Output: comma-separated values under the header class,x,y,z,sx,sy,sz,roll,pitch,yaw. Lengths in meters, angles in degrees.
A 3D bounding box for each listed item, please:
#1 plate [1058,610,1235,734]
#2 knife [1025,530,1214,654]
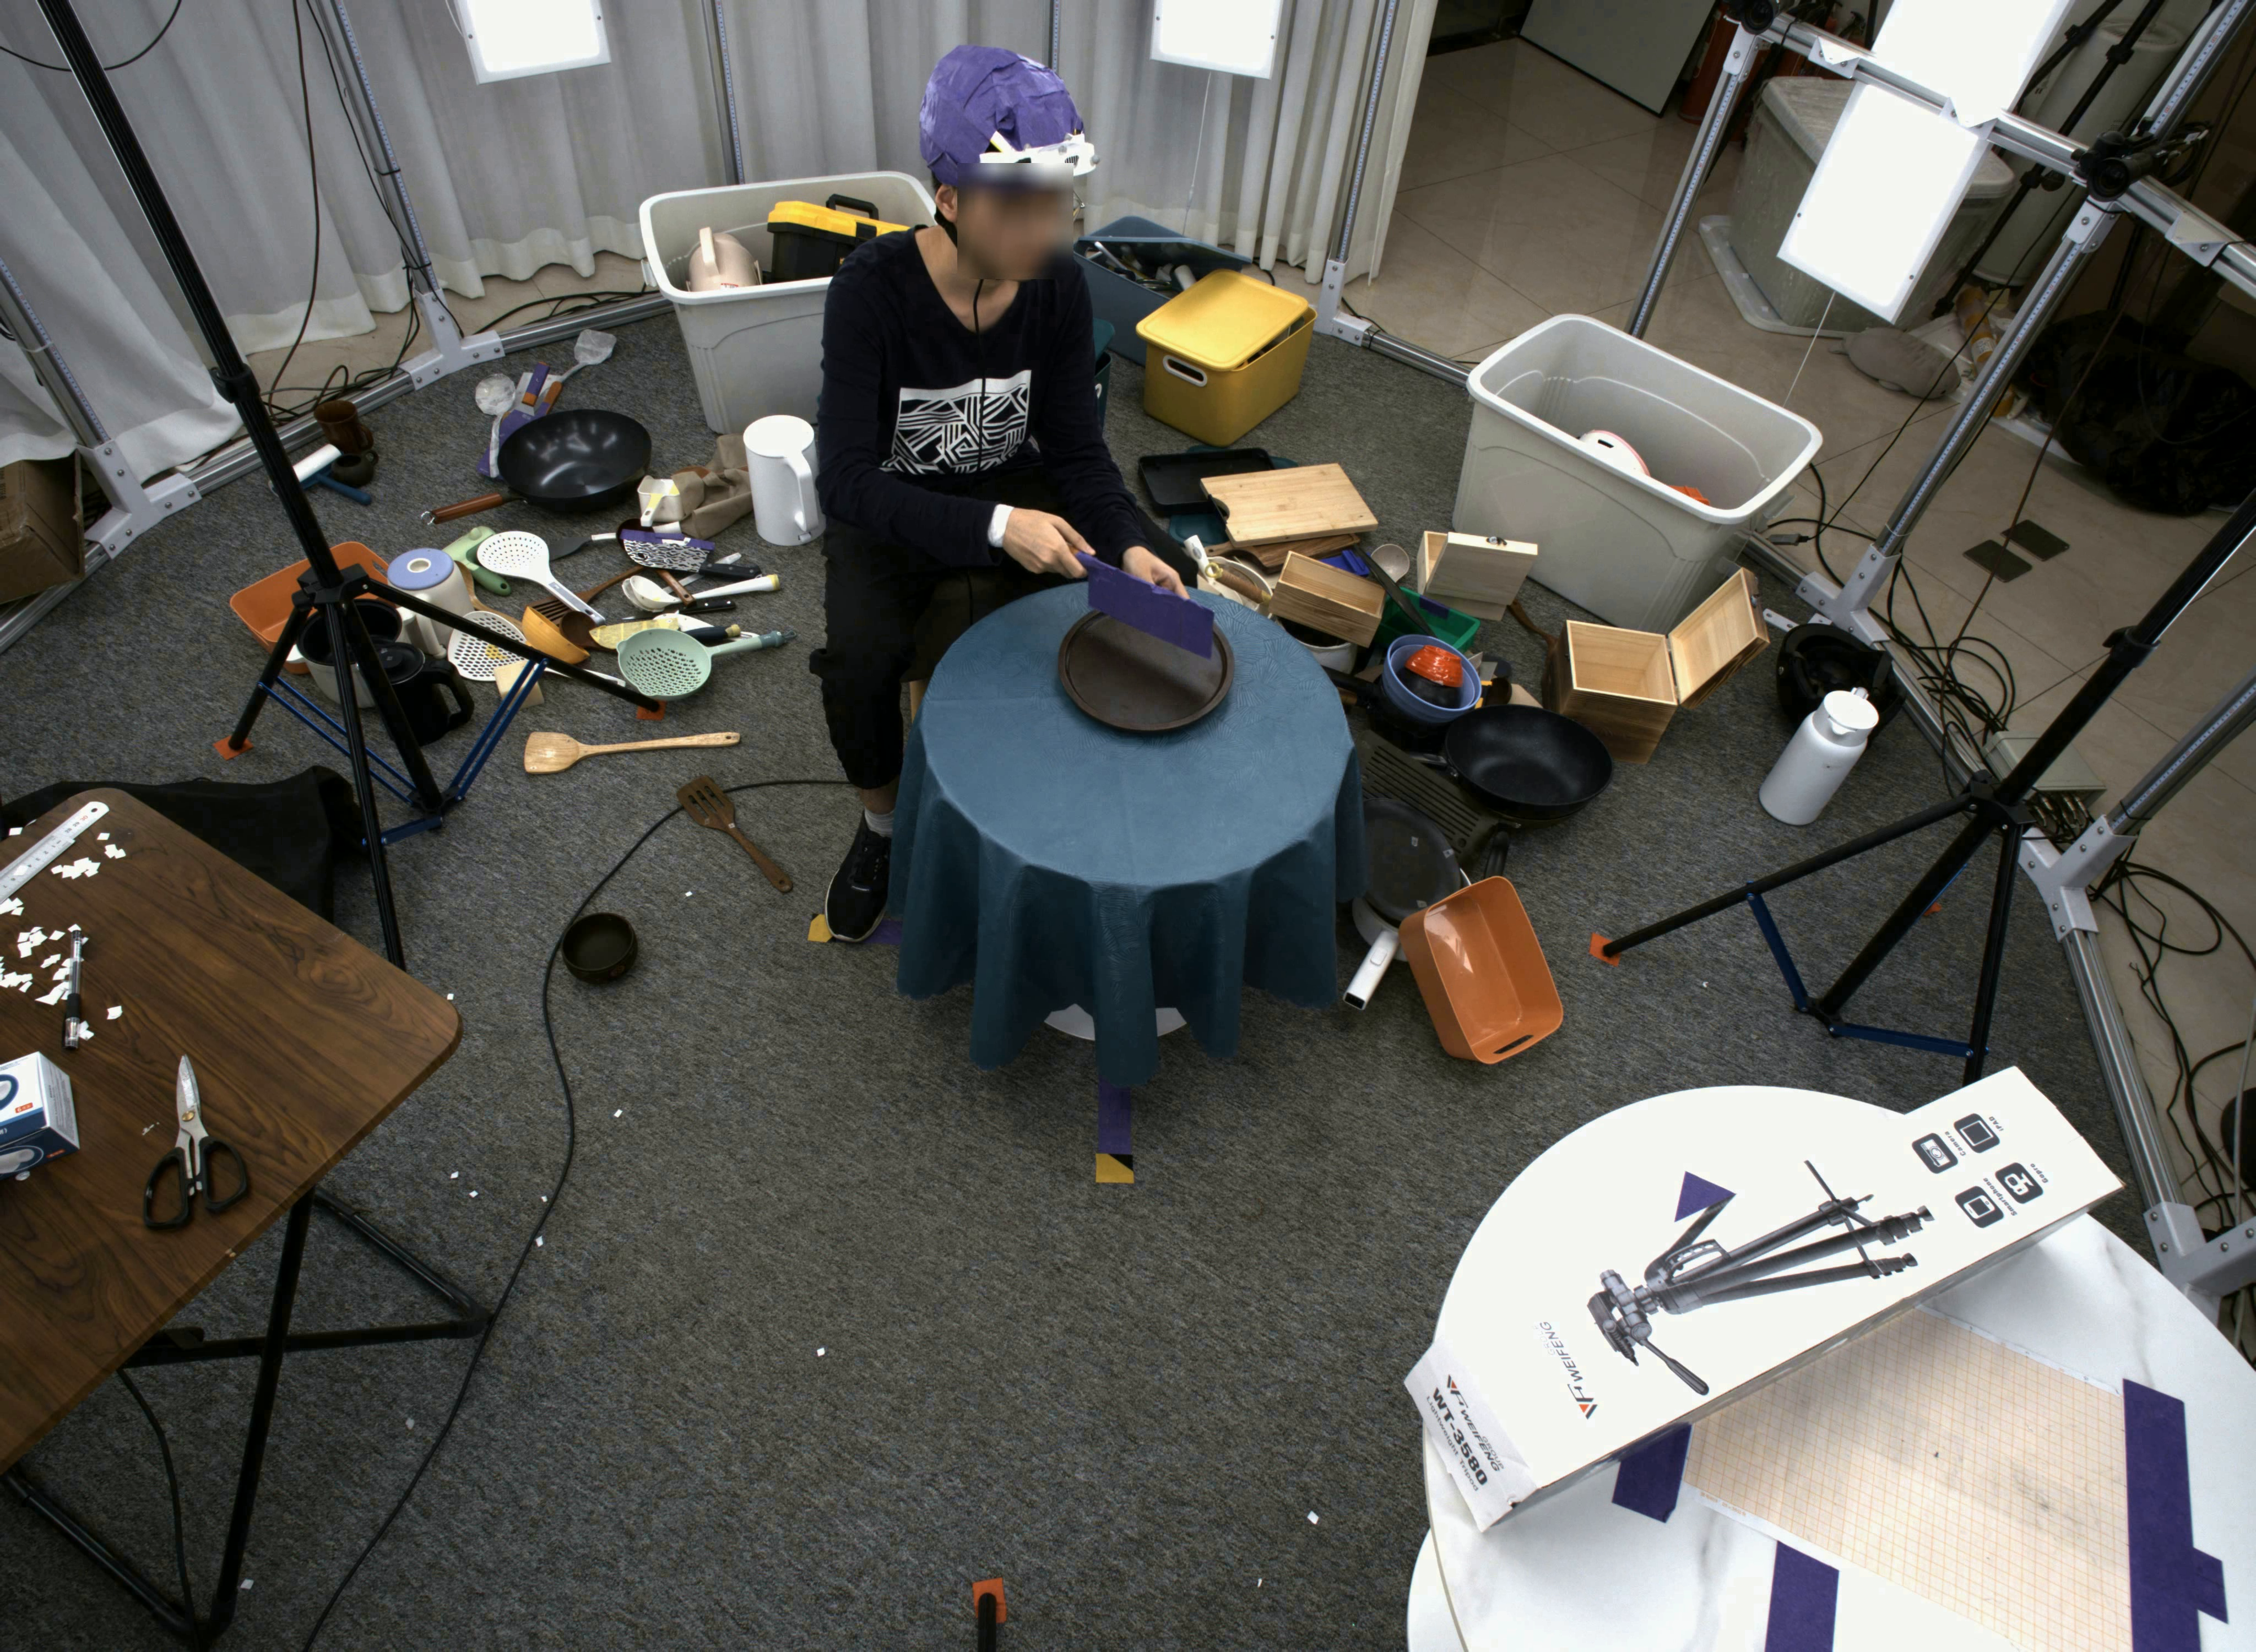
class,x,y,z,sx,sy,sz,roll,pitch,yaw
plate,0.026,-0.230,1.840,0.254,0.028,0.261,1,54,-1
knife,-0.014,-0.327,1.821,0.319,0.101,0.032,29,53,24
